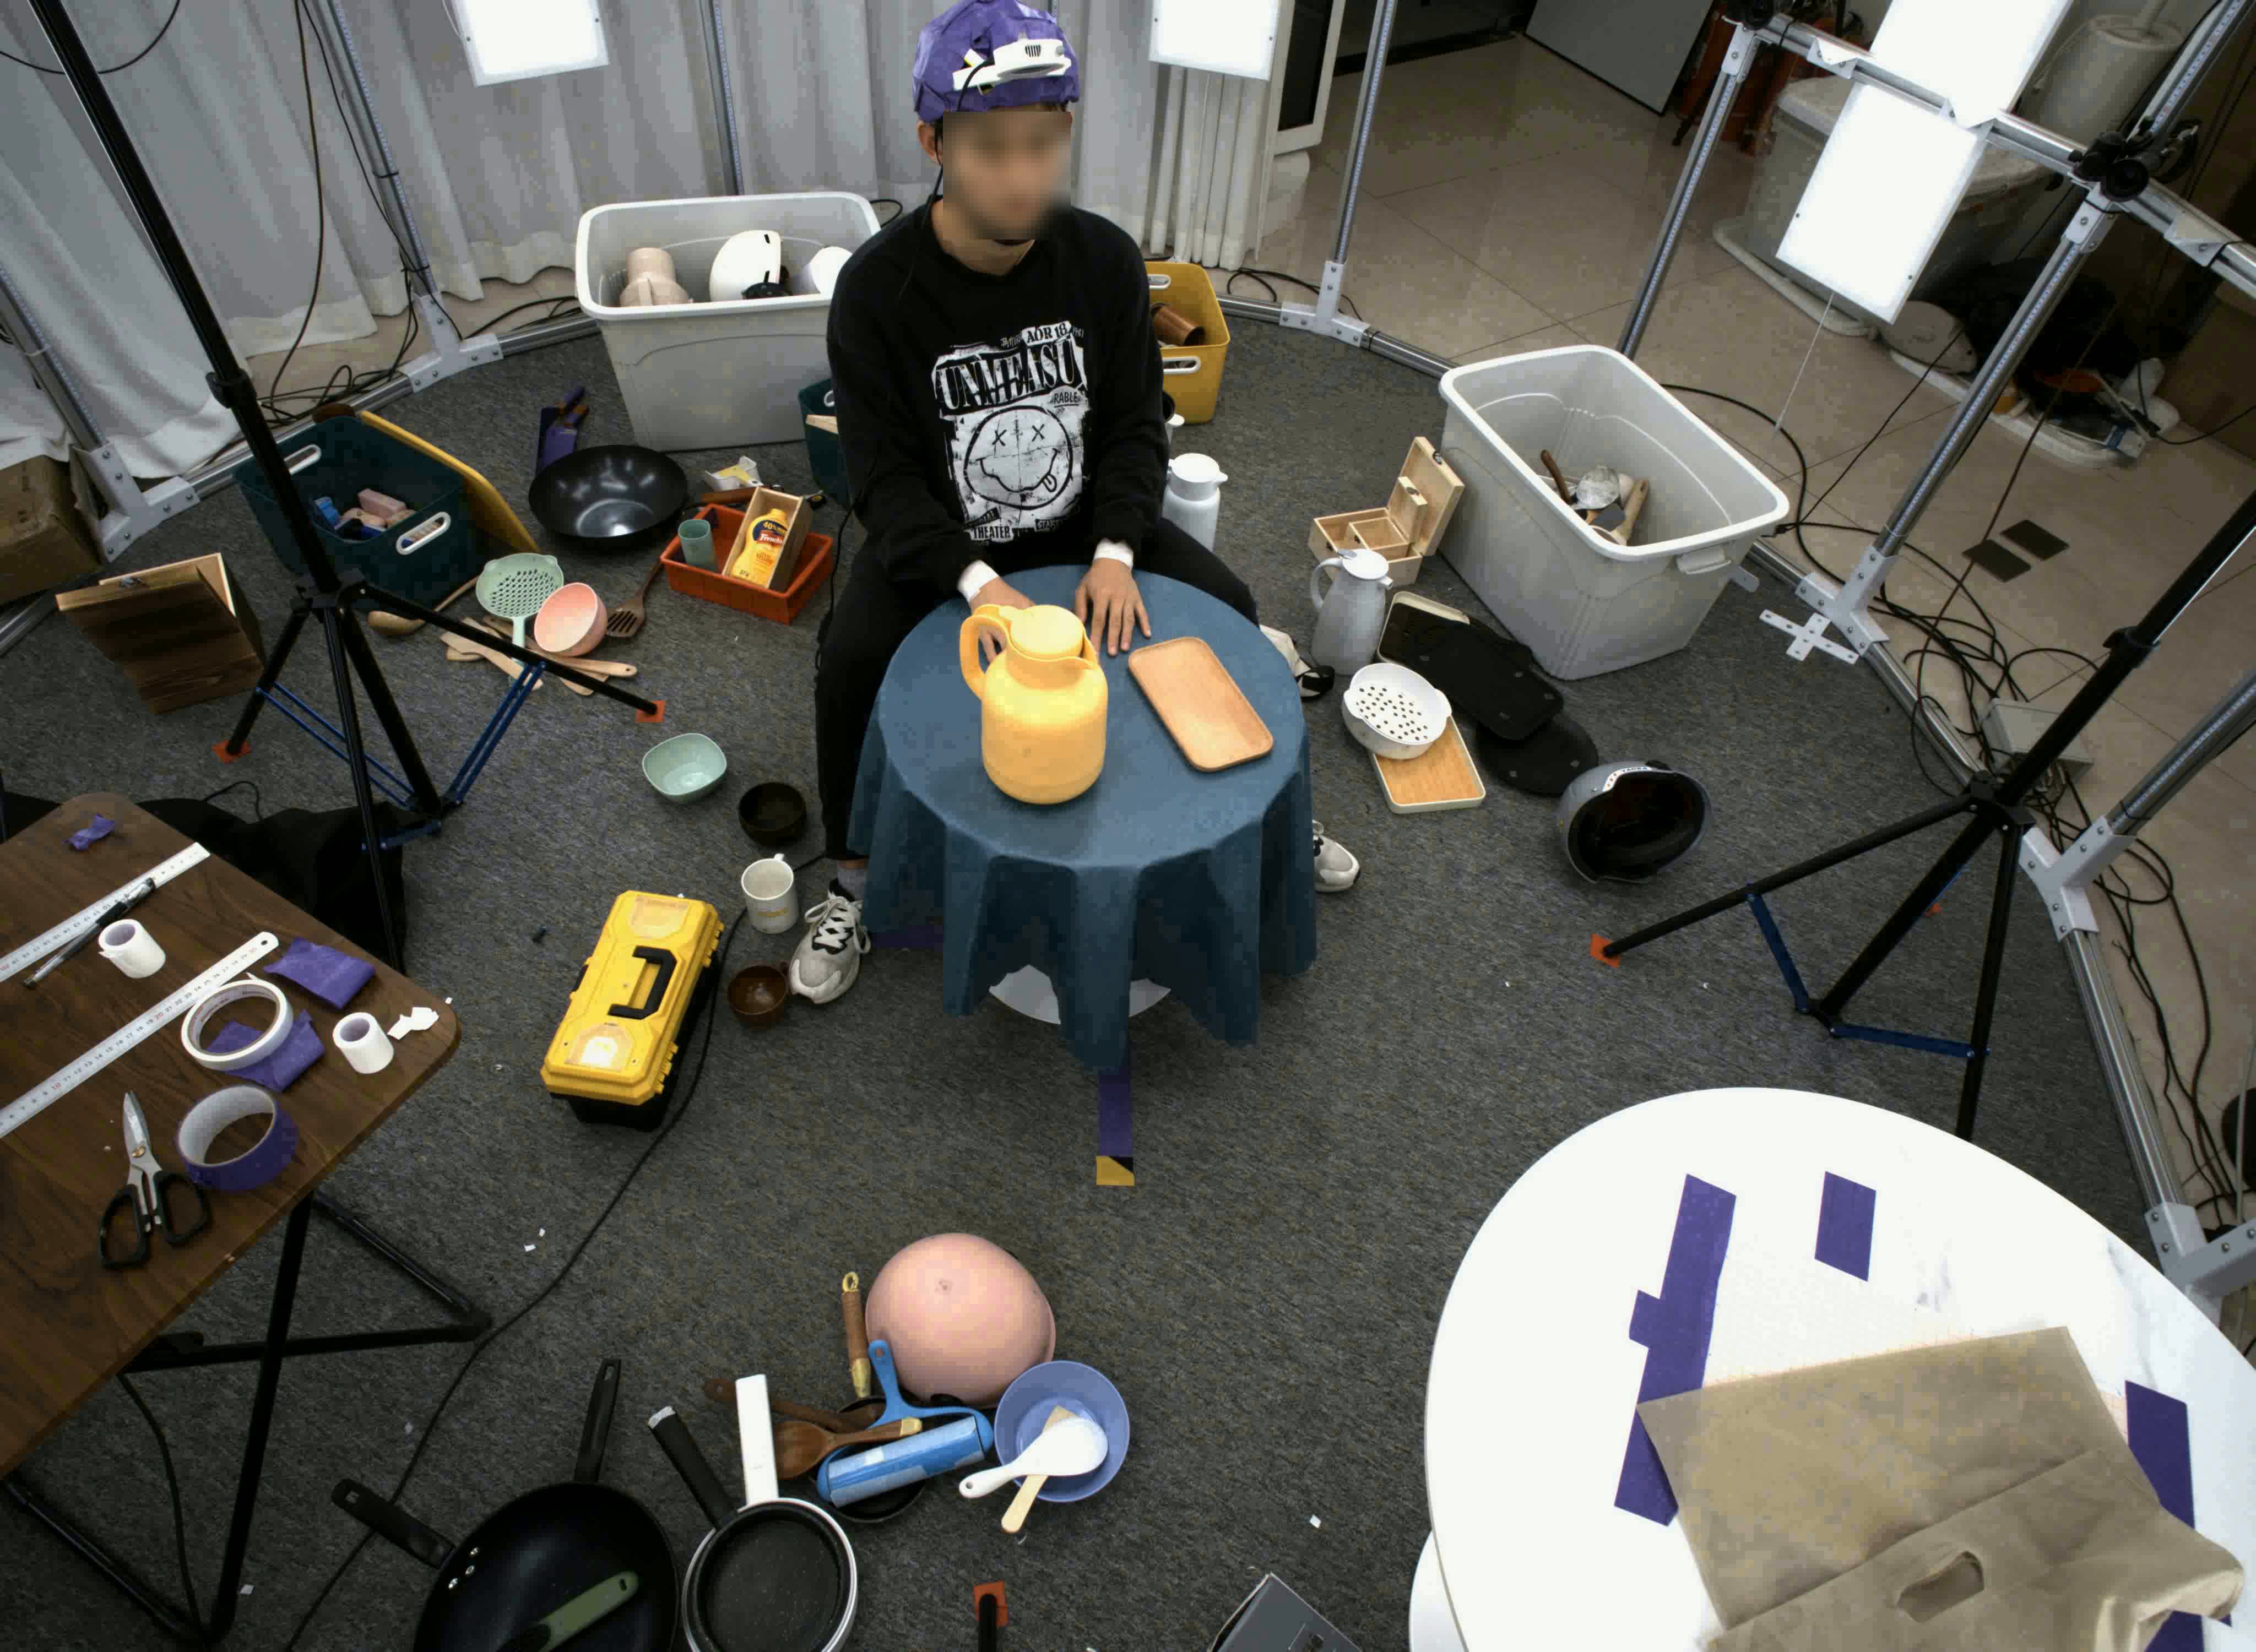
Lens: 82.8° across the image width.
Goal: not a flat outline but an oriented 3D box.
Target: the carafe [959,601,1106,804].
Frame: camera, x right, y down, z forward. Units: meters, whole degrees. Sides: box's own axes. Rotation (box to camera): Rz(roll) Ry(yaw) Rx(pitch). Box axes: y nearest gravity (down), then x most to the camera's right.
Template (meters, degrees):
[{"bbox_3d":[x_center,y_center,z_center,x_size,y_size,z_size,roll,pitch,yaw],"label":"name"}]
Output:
[{"bbox_3d":[-0.125,-0.169,1.639,0.204,0.254,0.166,29,51,18],"label":"carafe"}]

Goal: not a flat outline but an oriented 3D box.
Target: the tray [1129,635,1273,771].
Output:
[{"bbox_3d":[0.100,-0.177,1.817,0.130,0.022,0.256,-15,51,-19],"label":"tray"}]
